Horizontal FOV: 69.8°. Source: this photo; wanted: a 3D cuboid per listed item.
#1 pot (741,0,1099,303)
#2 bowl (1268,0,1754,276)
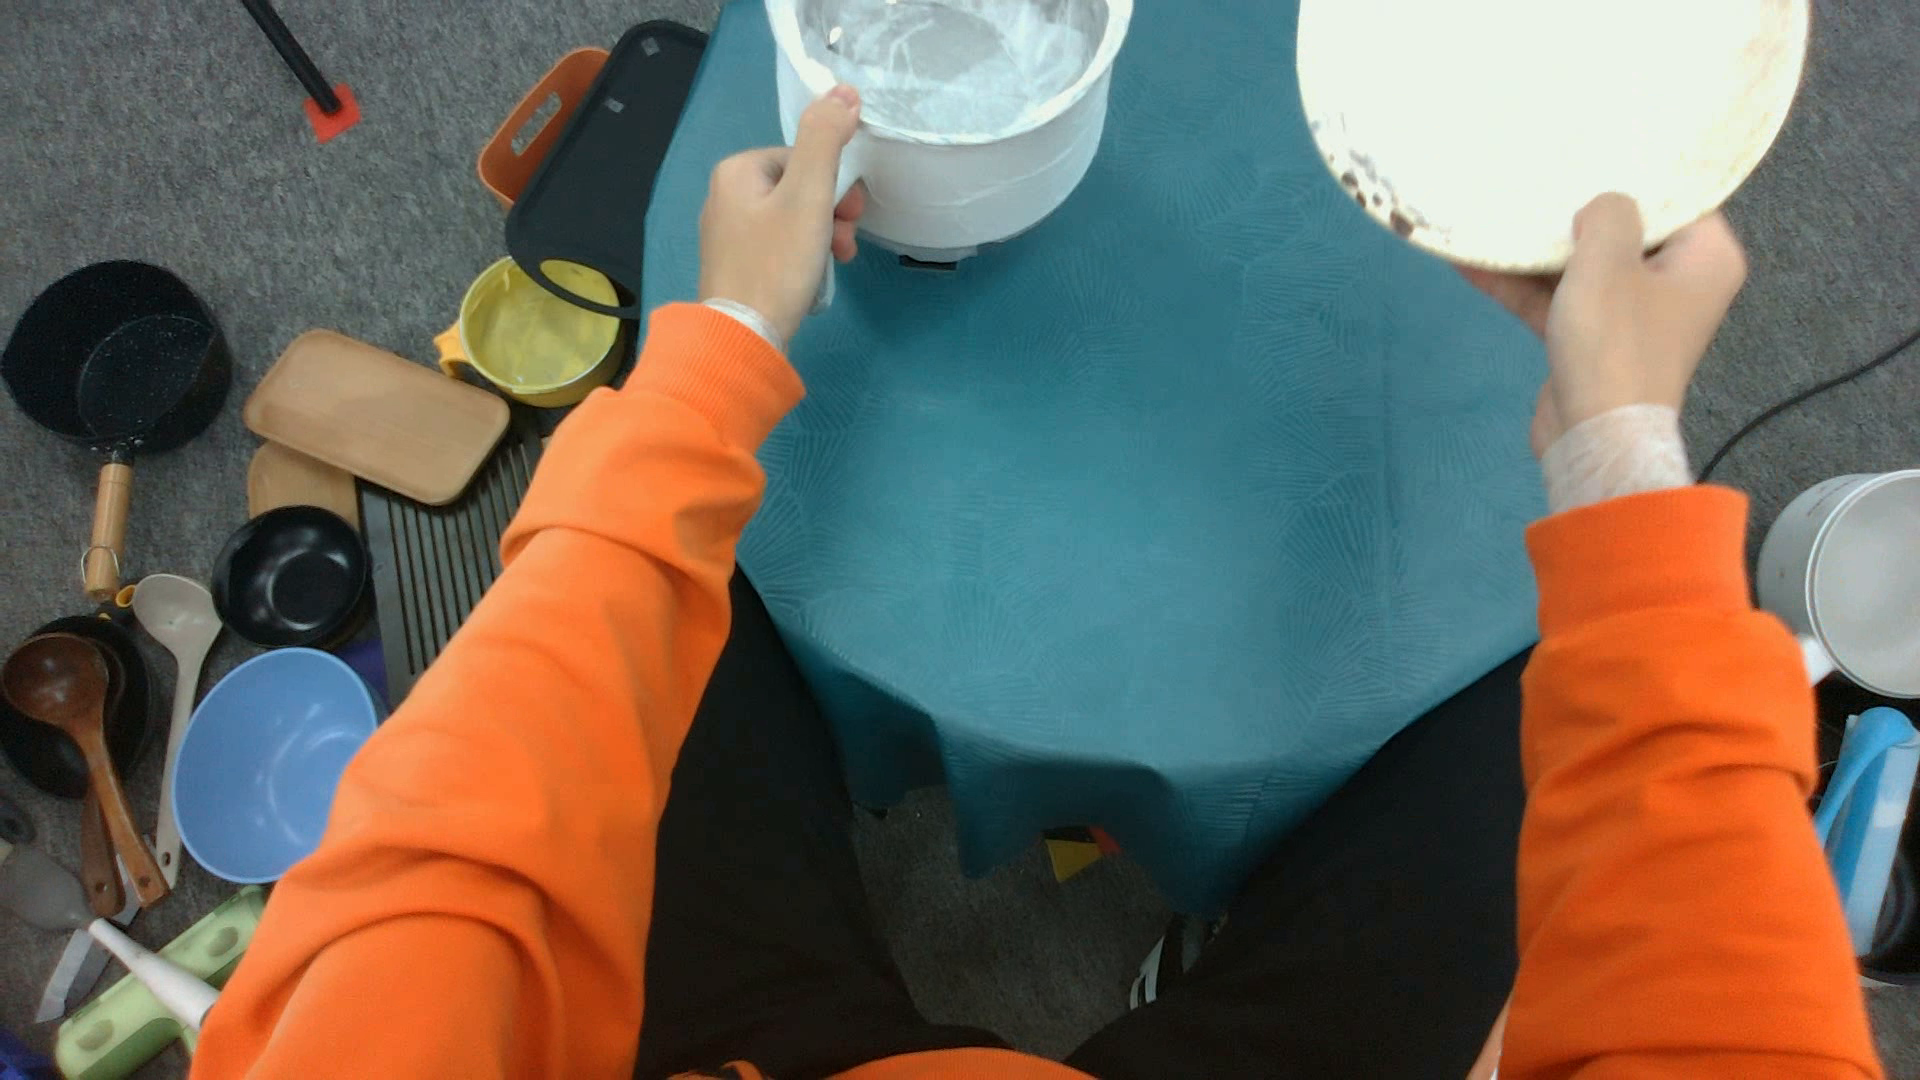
[{"bbox_3d":[-0.036,-0.235,0.718,0.179,0.136,0.234,30,74,7],"label":"pot"},{"bbox_3d":[0.247,-0.212,0.643,0.204,0.078,0.204,-1,84,11],"label":"bowl"}]
